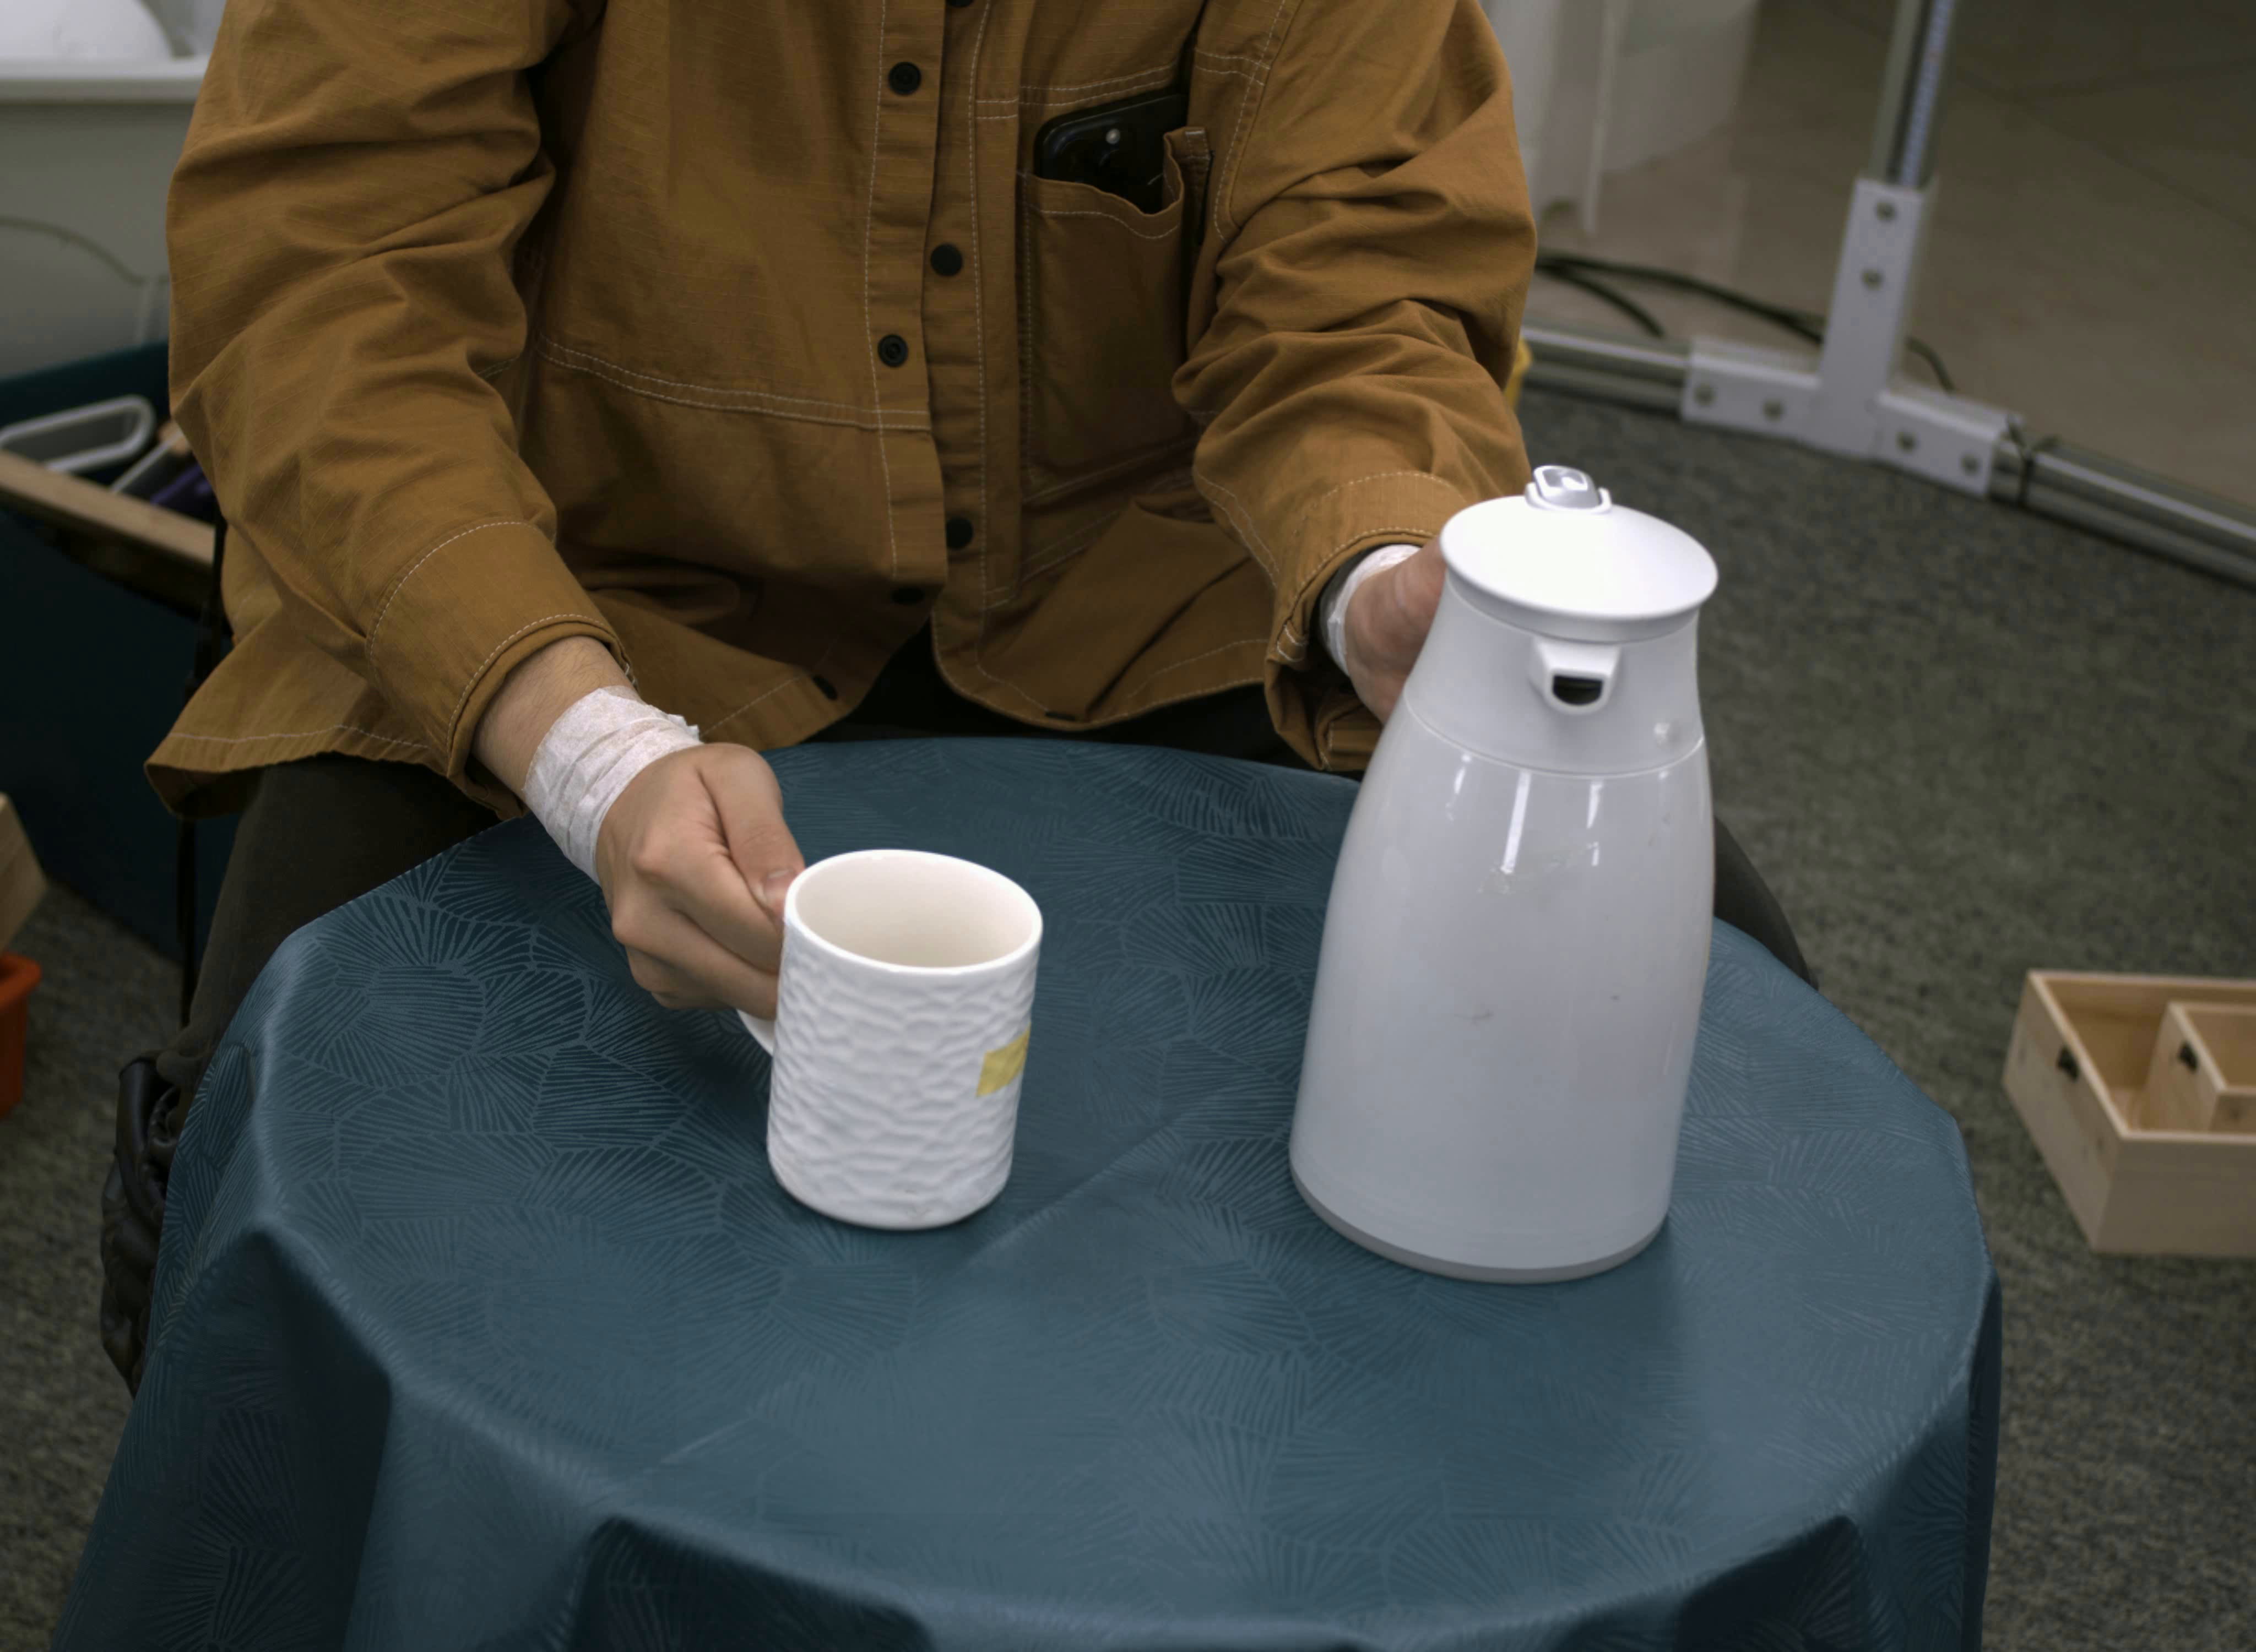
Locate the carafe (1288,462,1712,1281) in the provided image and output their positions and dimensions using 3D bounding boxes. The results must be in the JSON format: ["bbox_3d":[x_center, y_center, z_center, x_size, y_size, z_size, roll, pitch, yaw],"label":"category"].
[{"bbox_3d":[0.131,0.005,1.796,0.132,0.248,0.168,5,26,-2],"label":"carafe"}]

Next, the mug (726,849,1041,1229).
[{"bbox_3d":[-0.089,0.066,1.786,0.119,0.101,0.084,24,31,32],"label":"mug"}]
